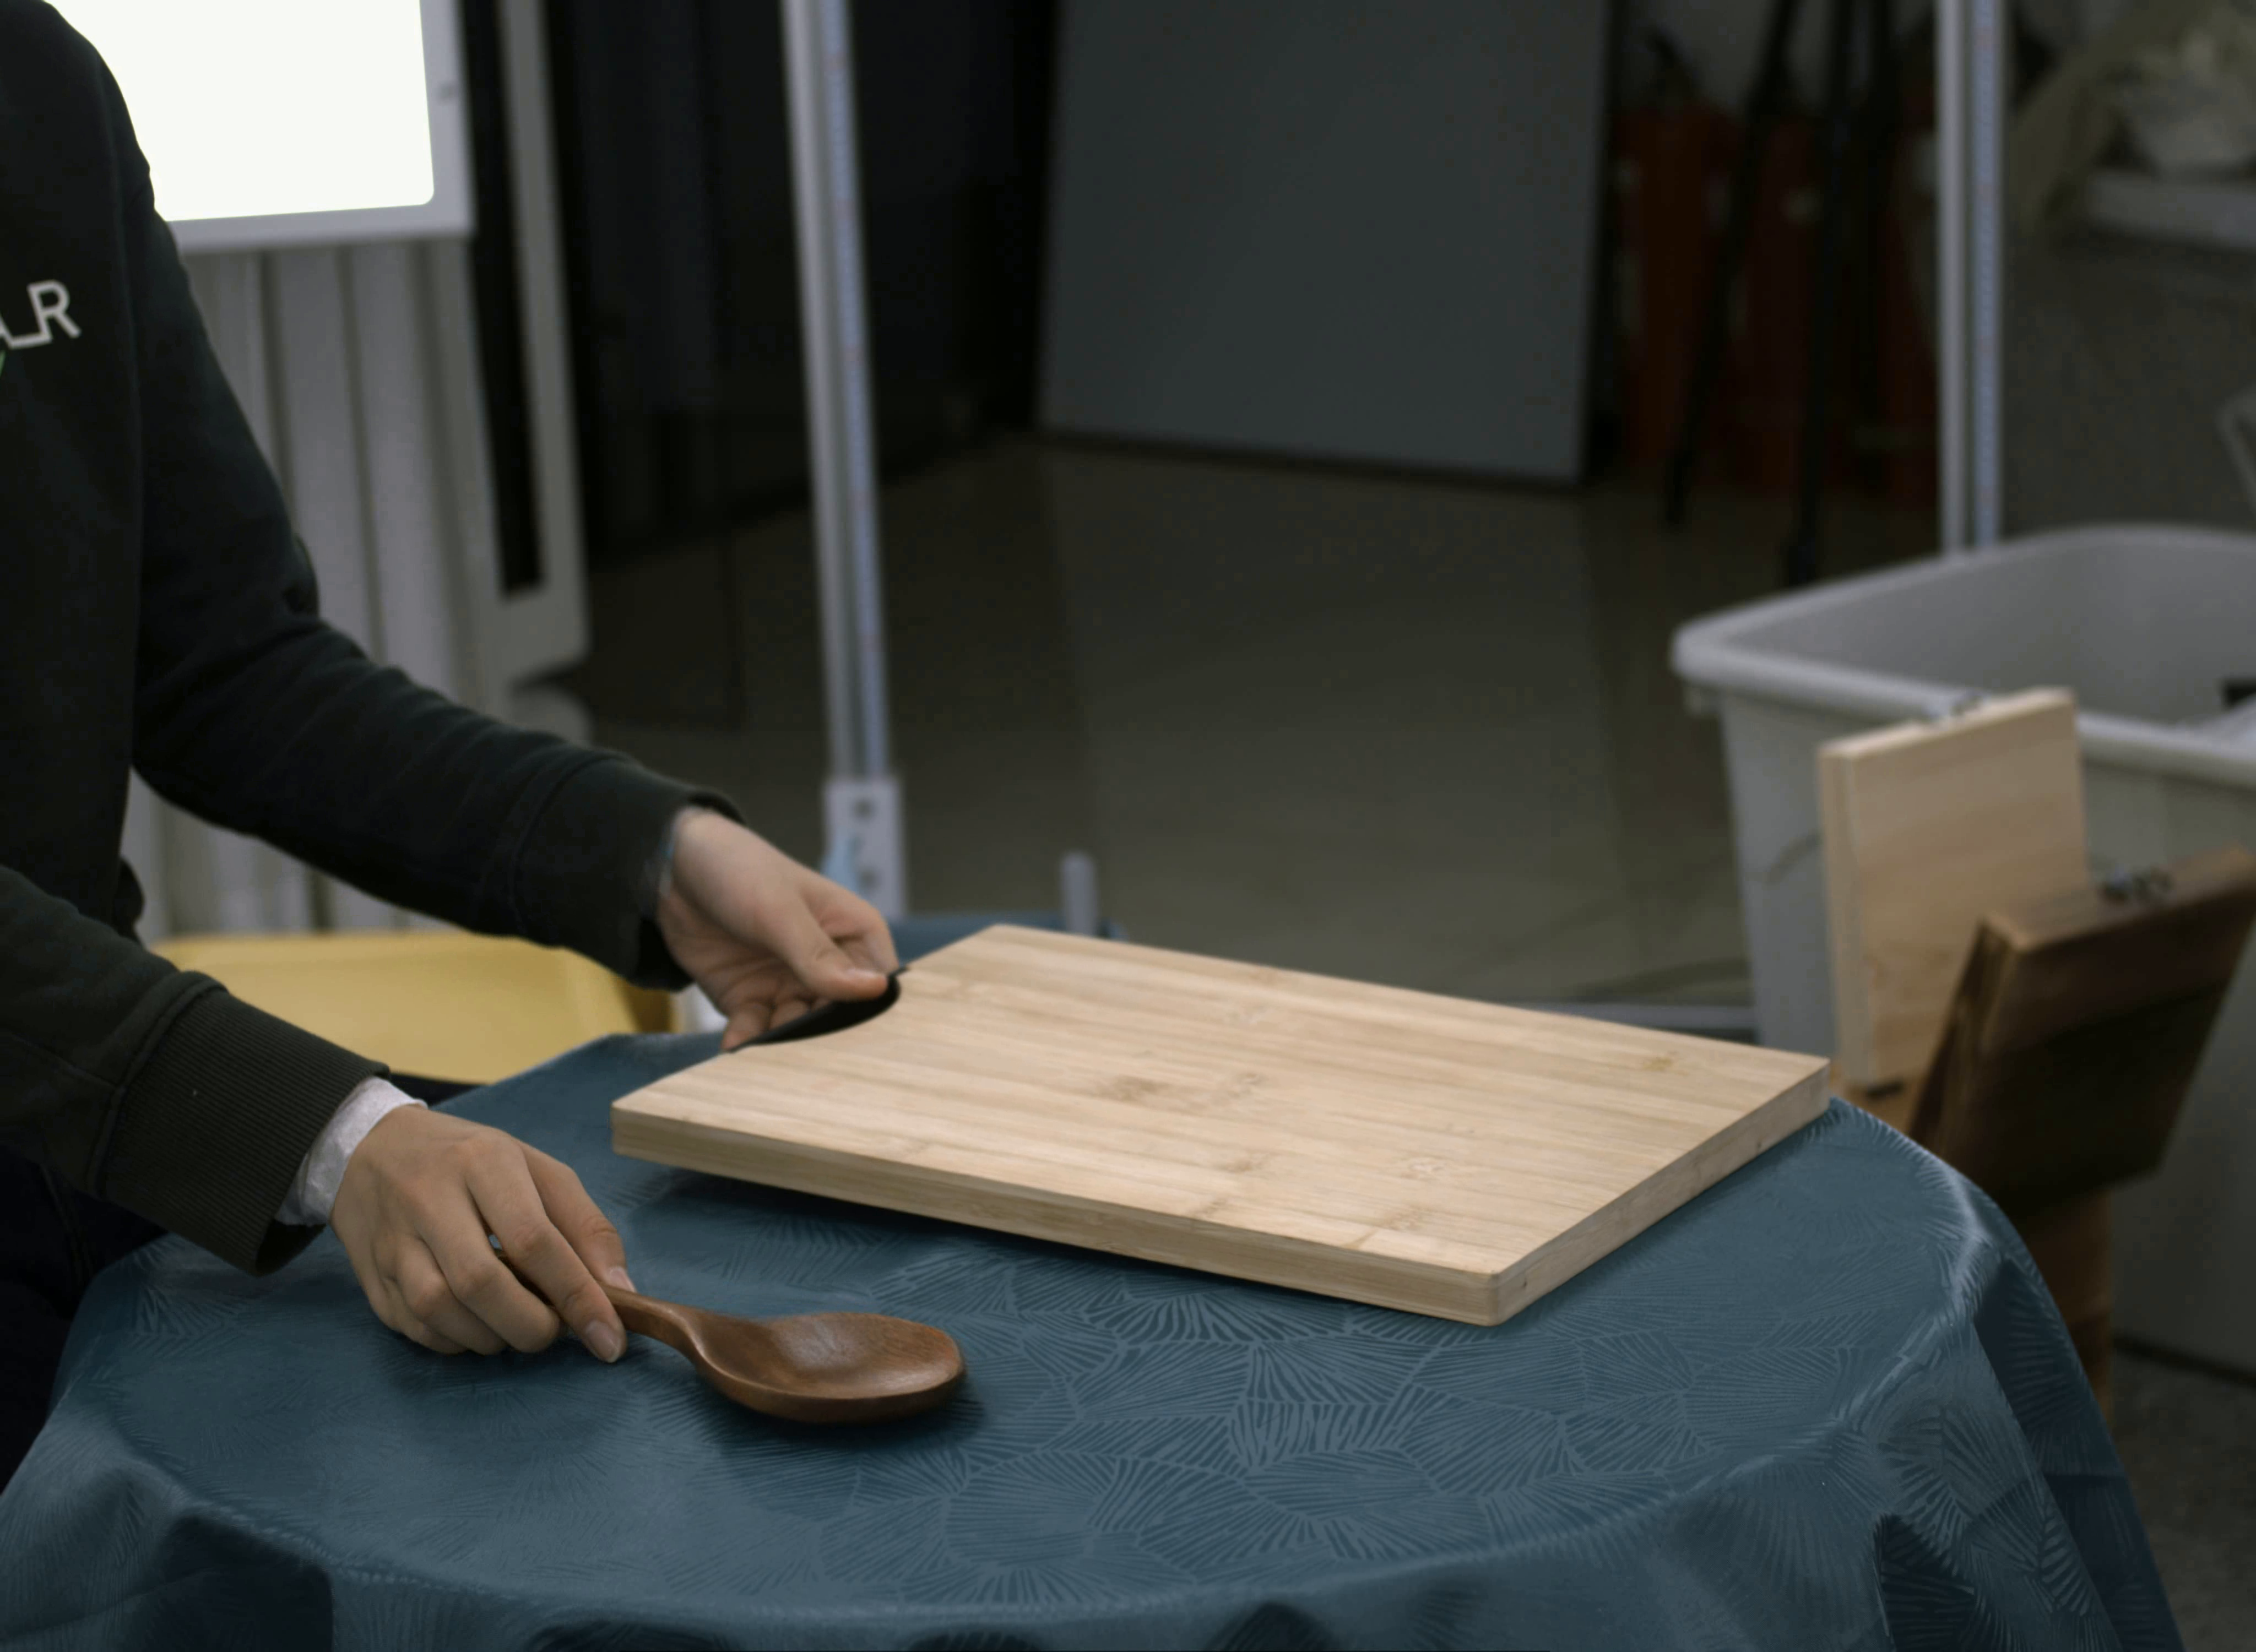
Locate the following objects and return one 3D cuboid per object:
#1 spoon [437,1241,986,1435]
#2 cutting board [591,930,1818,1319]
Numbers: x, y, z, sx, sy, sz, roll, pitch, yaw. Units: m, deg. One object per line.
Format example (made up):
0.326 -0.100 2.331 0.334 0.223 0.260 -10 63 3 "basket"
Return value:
-0.131 0.154 1.632 0.217 0.017 0.074 11 21 40 "spoon"
0.026 0.095 1.807 0.350 0.024 0.246 7 17 32 "cutting board"
